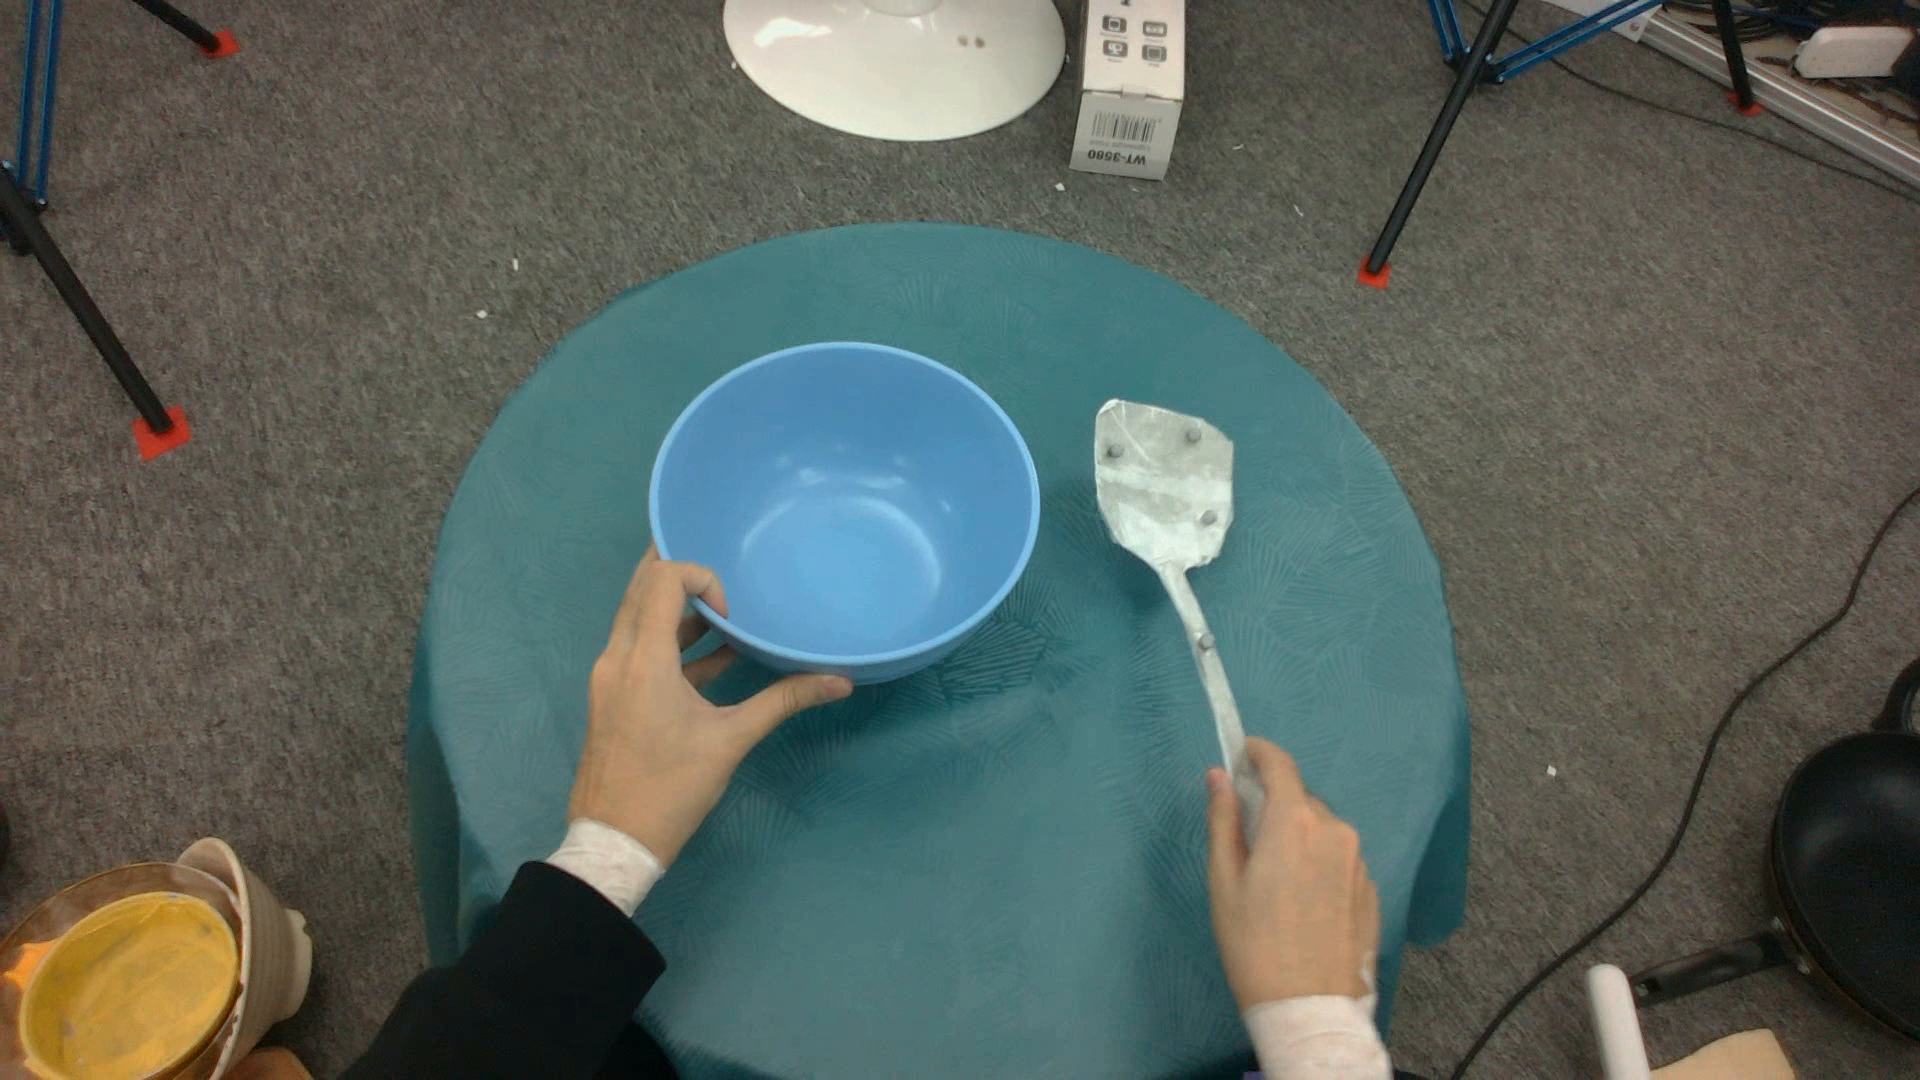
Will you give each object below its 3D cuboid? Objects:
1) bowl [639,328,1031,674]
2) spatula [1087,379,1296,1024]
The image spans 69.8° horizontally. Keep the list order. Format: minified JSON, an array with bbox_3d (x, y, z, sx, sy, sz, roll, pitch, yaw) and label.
[{"bbox_3d":[-0.066,-0.007,0.730,0.196,0.095,0.197,4,57,-6],"label":"bowl"},{"bbox_3d":[0.131,0.063,0.718,0.099,0.044,0.366,9,49,-22],"label":"spatula"}]
